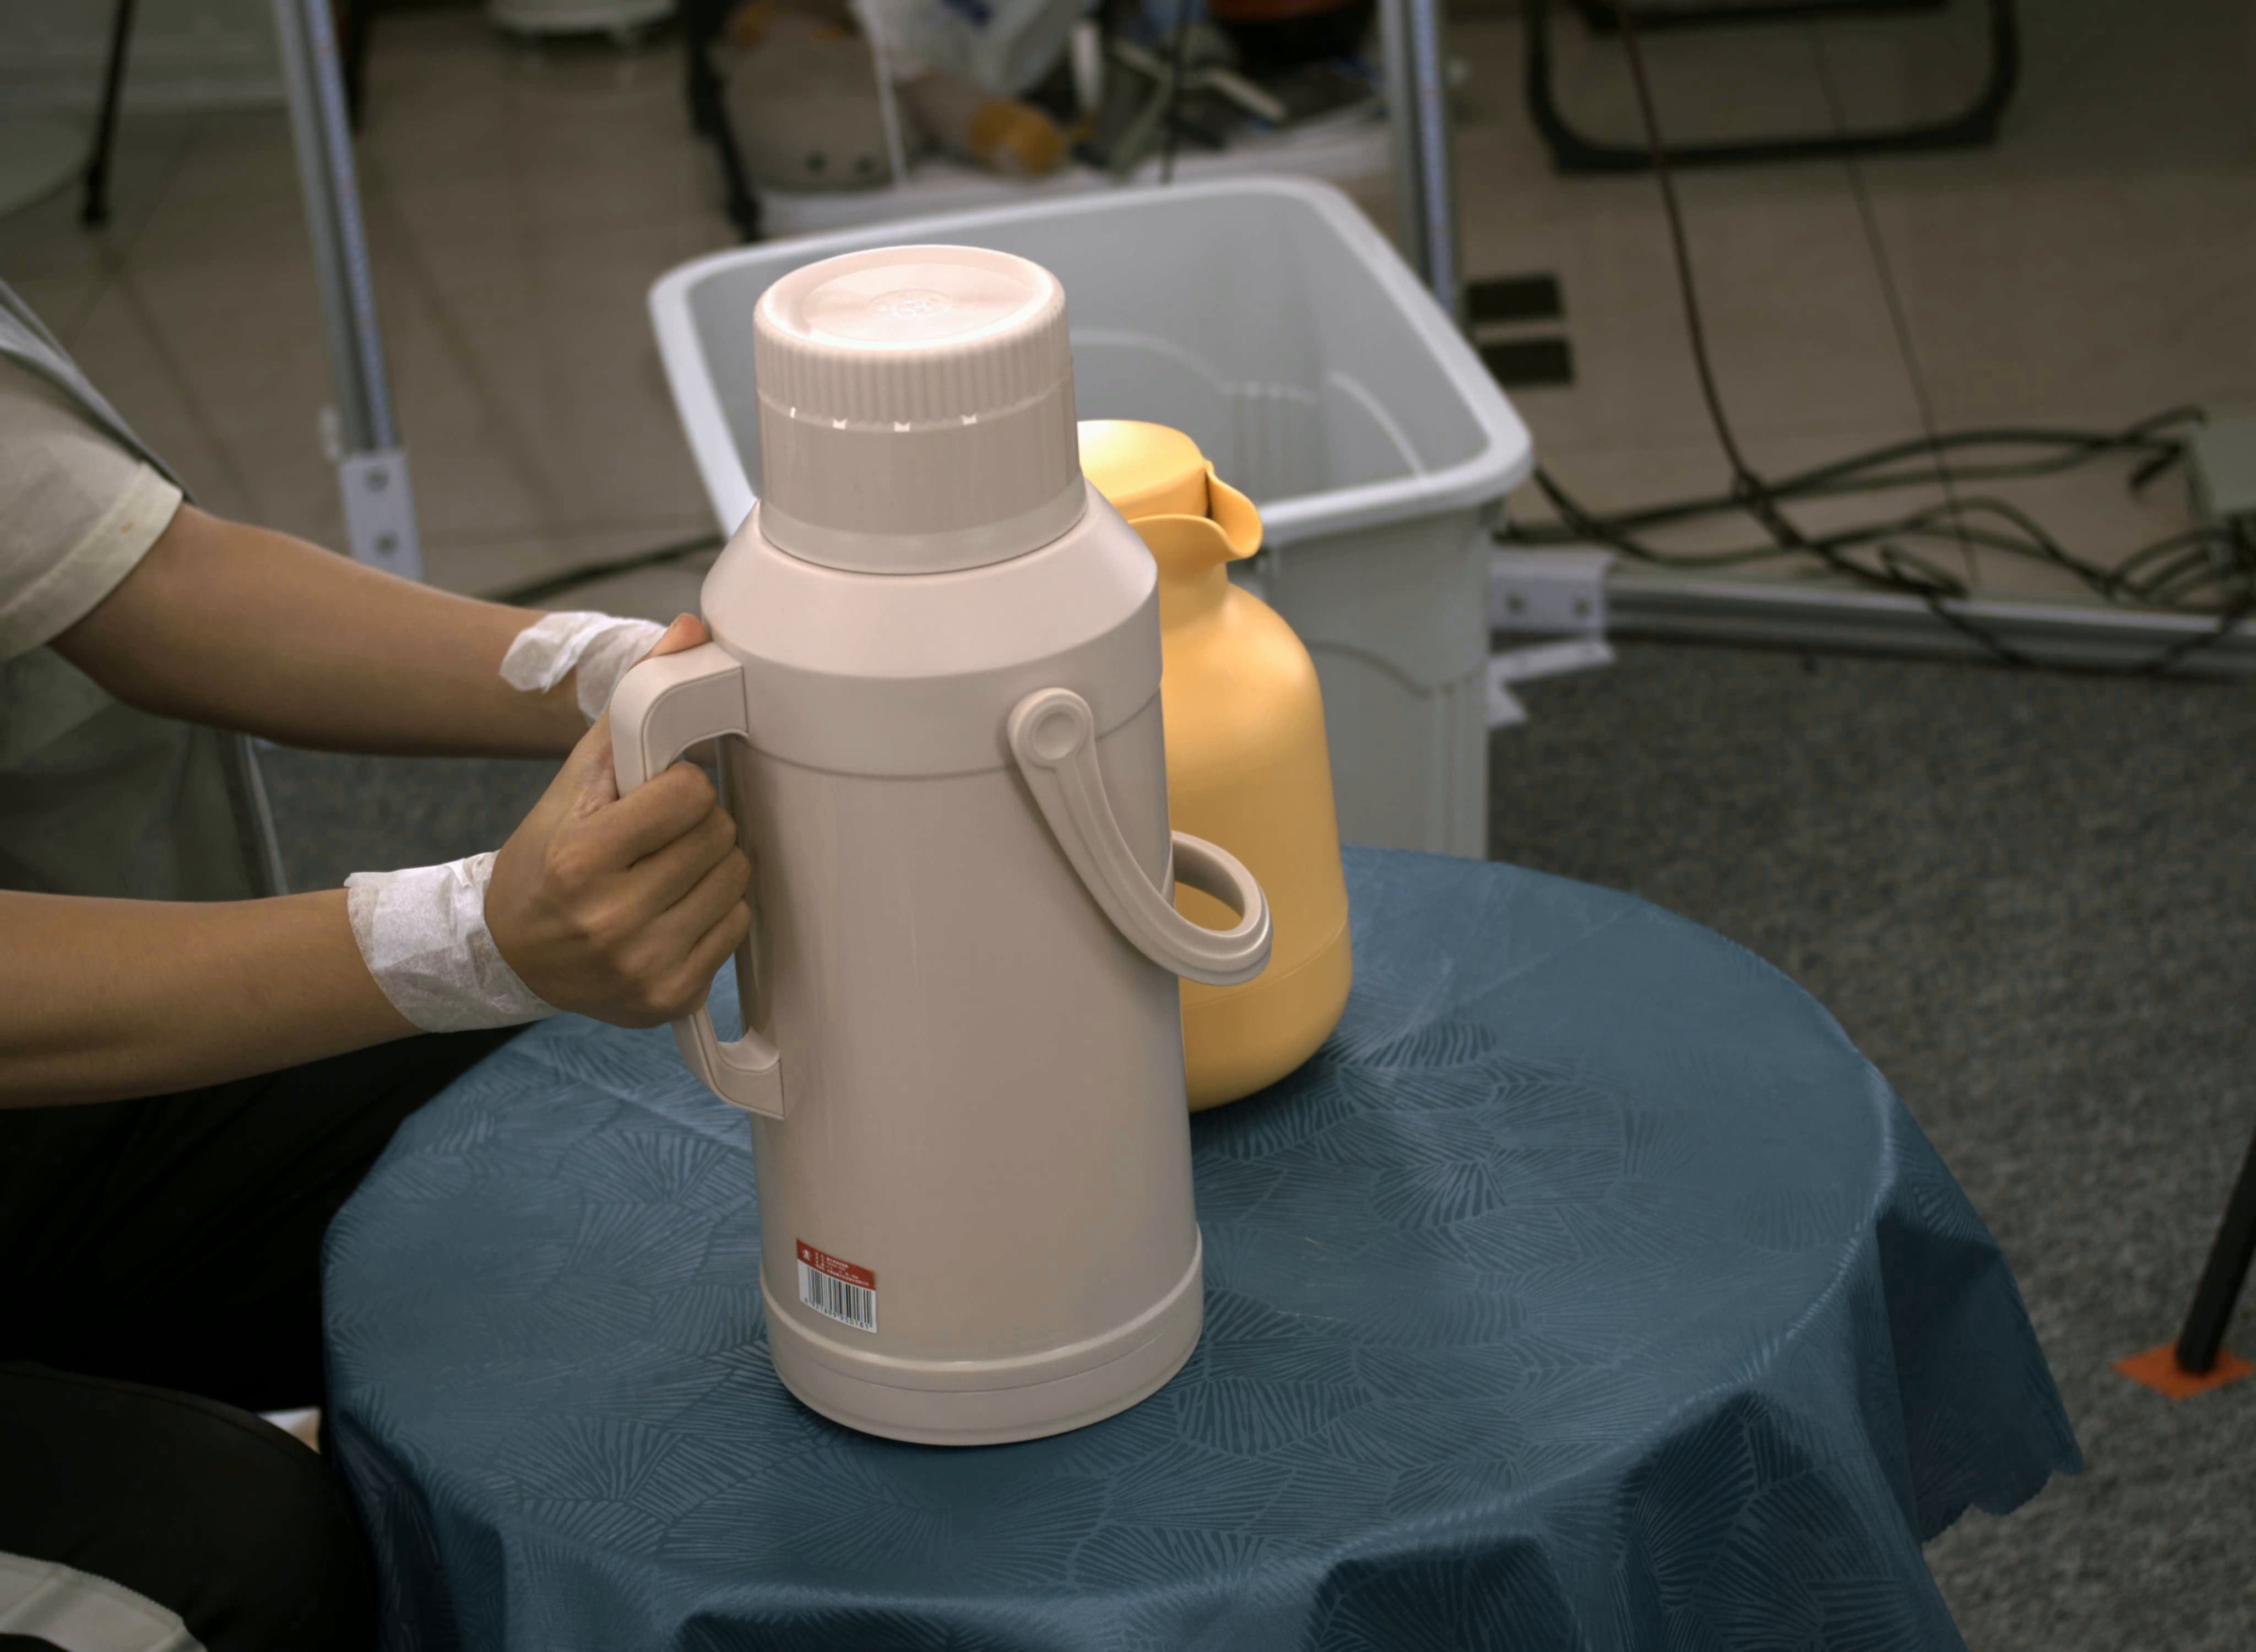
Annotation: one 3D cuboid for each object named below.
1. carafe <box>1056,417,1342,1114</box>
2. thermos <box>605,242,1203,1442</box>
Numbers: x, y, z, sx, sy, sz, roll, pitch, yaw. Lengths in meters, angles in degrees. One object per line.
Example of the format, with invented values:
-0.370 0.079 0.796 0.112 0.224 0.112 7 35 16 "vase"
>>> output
-0.018 -0.031 2.206 0.201 0.264 0.162 15 31 35 "carafe"
-0.077 0.008 1.962 0.206 0.413 0.173 -16 31 -24 "thermos"
